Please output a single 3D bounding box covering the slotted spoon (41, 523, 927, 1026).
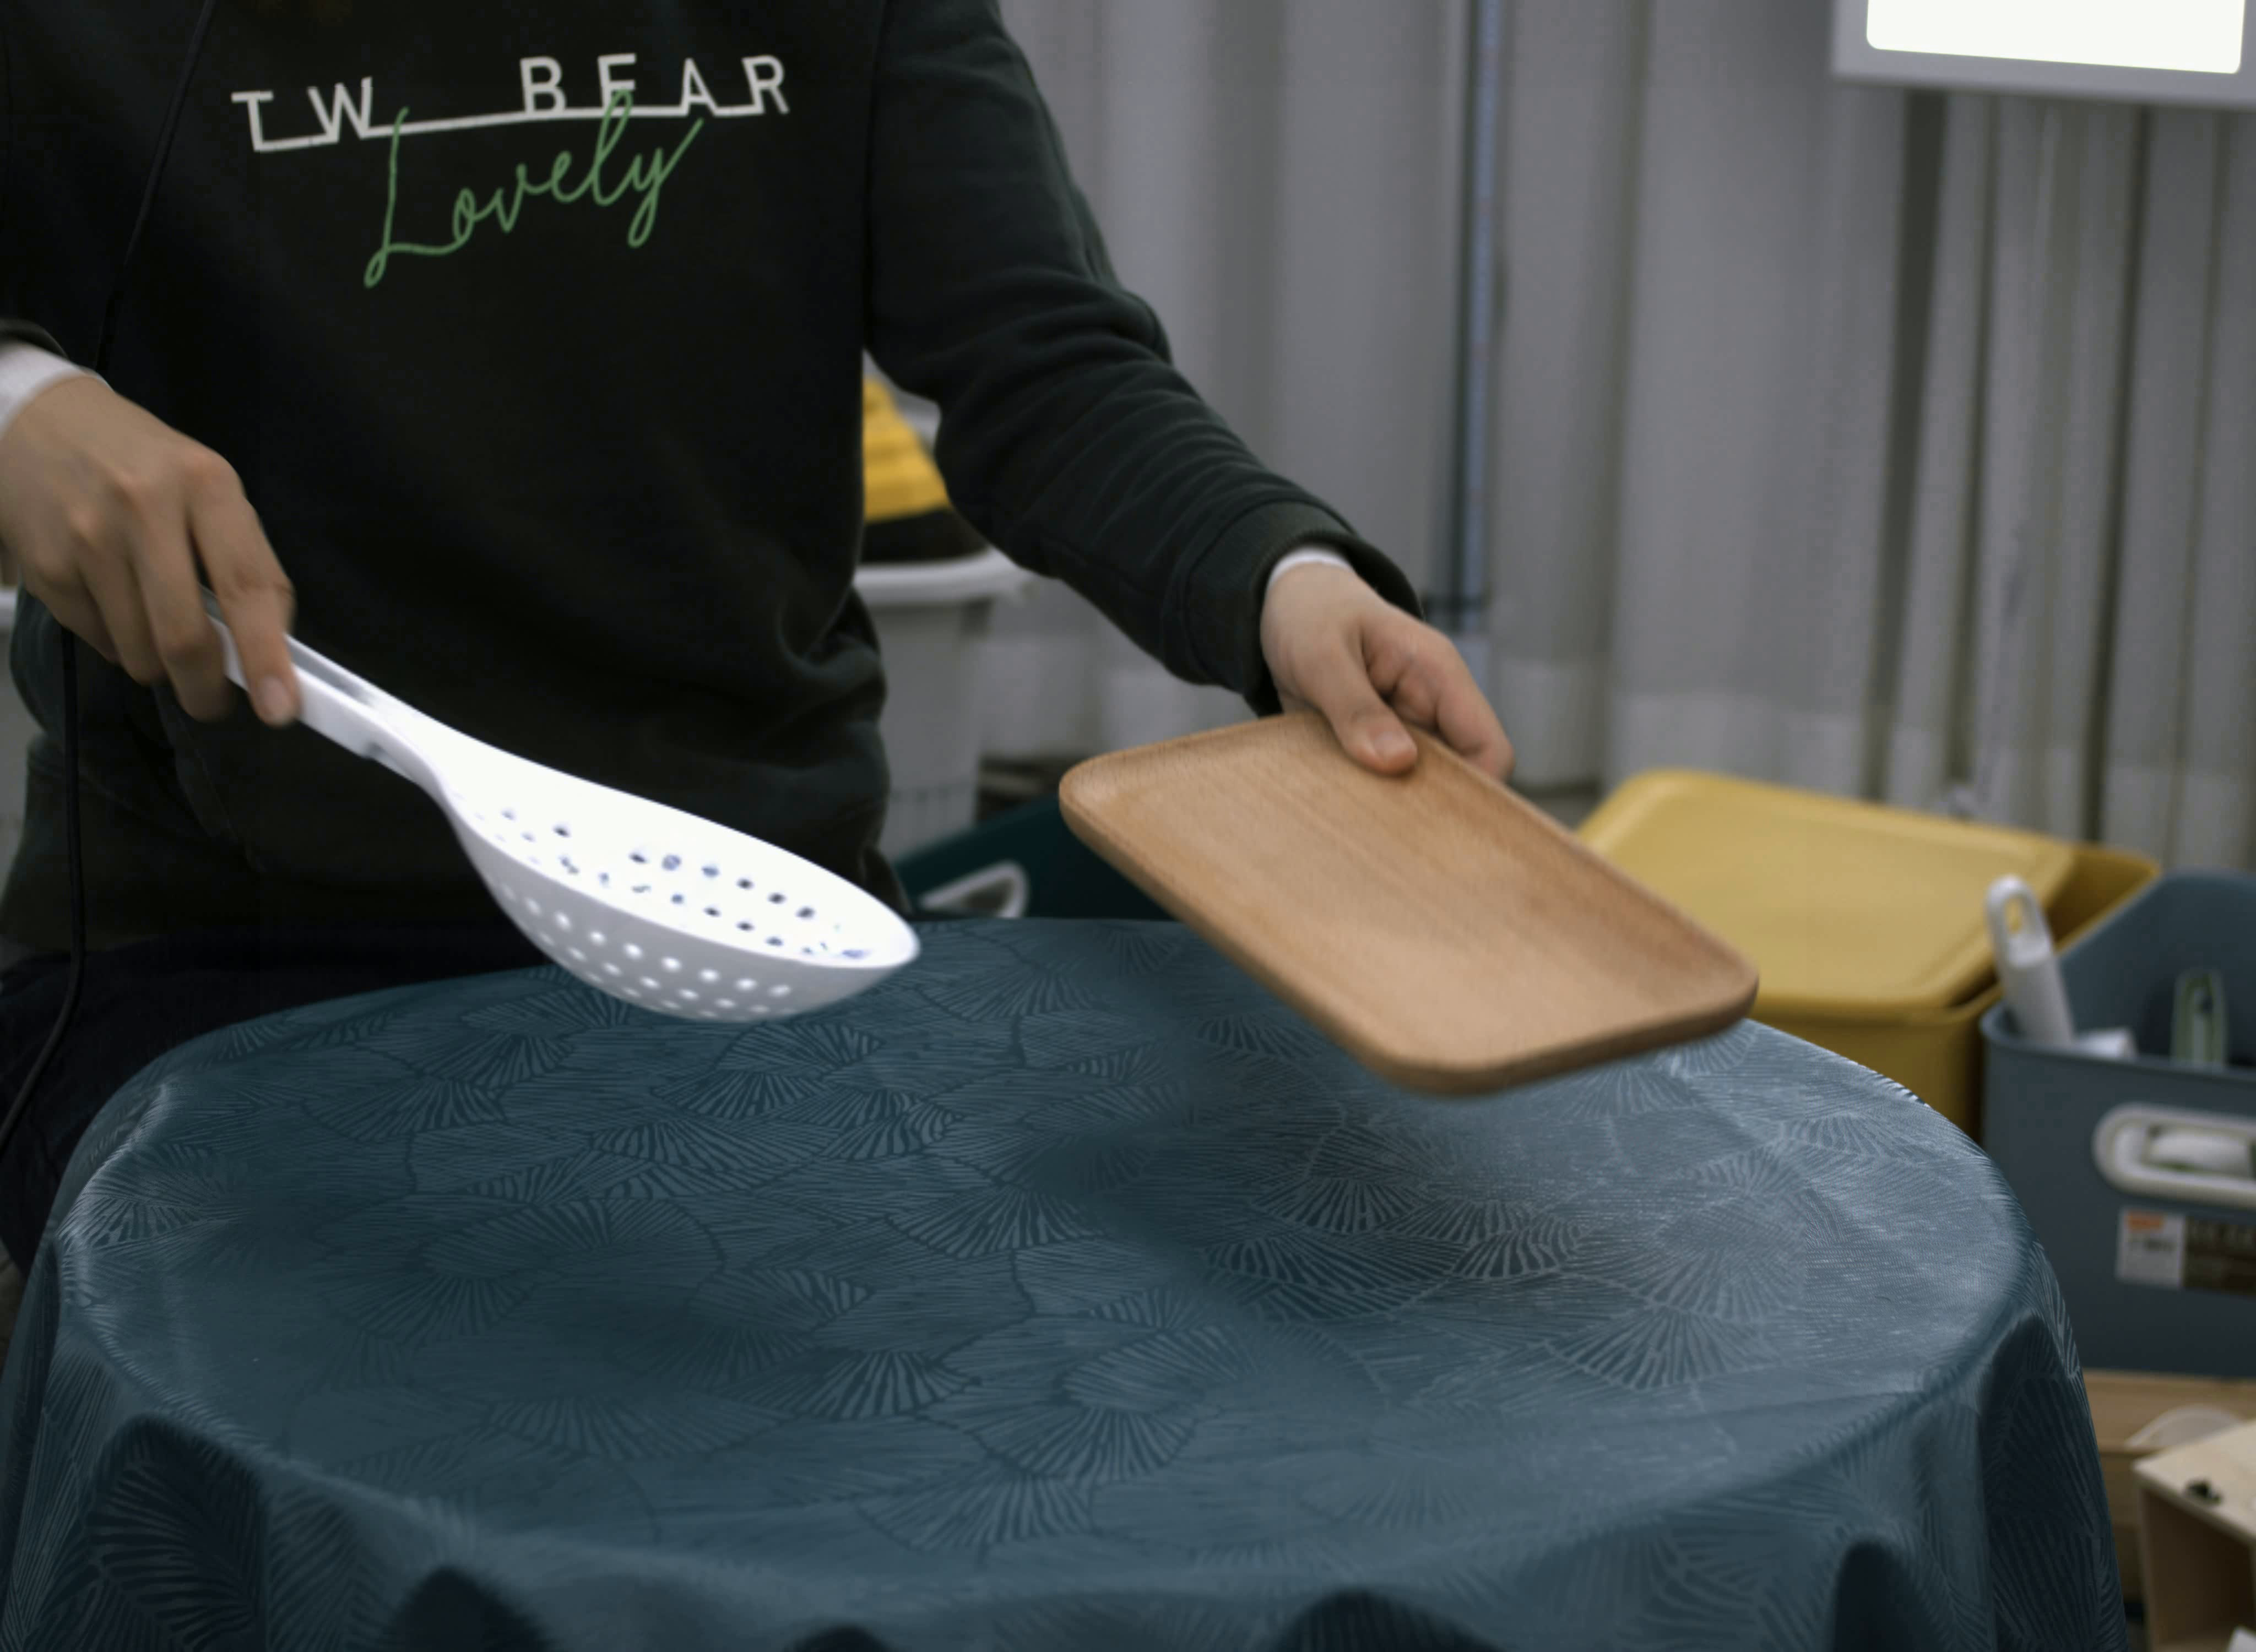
[{"bbox_3d":[-0.202,-0.021,1.537,0.345,0.046,0.137,33,16,32],"label":"slotted spoon"}]

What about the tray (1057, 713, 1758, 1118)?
[{"bbox_3d":[0.080,0.024,1.599,0.131,0.023,0.247,-10,26,-25],"label":"tray"}]
